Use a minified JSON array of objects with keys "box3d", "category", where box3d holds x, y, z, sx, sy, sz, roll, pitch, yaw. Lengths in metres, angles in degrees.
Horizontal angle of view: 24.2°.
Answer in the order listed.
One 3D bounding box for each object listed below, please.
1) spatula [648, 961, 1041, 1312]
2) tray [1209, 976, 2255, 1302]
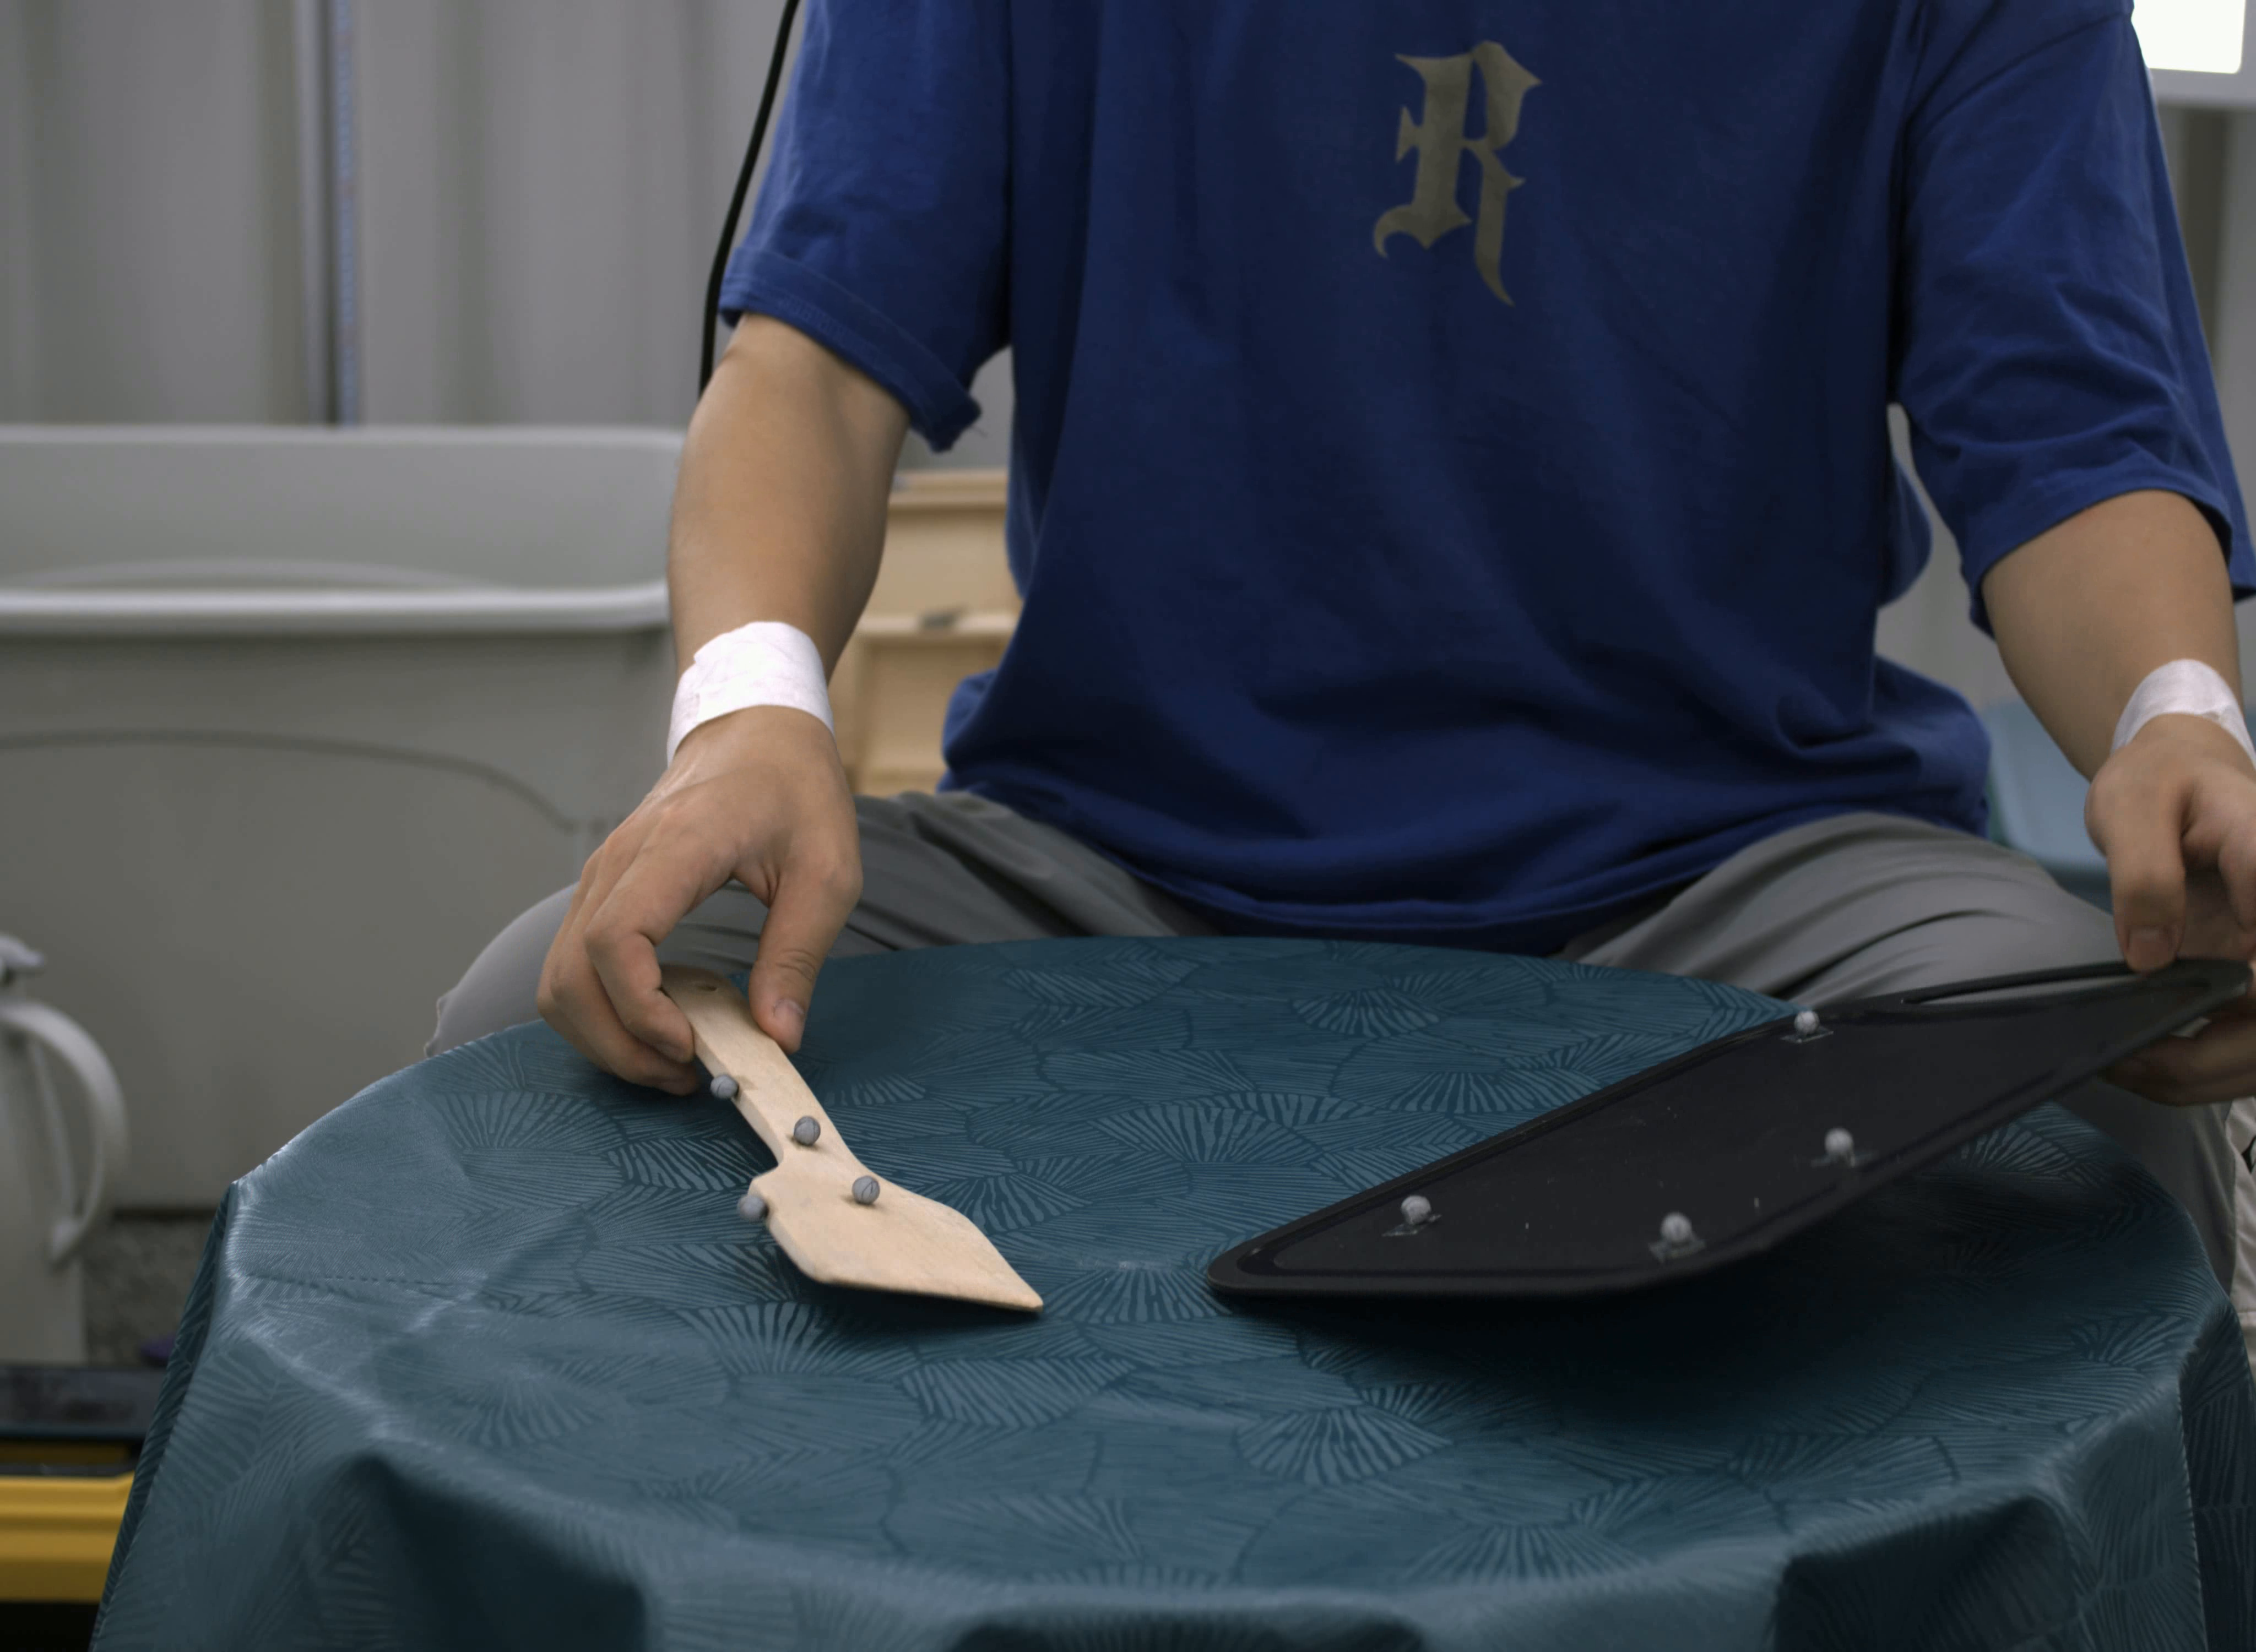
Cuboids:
[{"box3d":[-0.103,0.092,1.630,0.072,0.011,0.289,7,15,-22],"category":"spatula"},{"box3d":[0.188,0.089,1.576,0.327,0.010,0.209,-19,10,-41],"category":"tray"}]
